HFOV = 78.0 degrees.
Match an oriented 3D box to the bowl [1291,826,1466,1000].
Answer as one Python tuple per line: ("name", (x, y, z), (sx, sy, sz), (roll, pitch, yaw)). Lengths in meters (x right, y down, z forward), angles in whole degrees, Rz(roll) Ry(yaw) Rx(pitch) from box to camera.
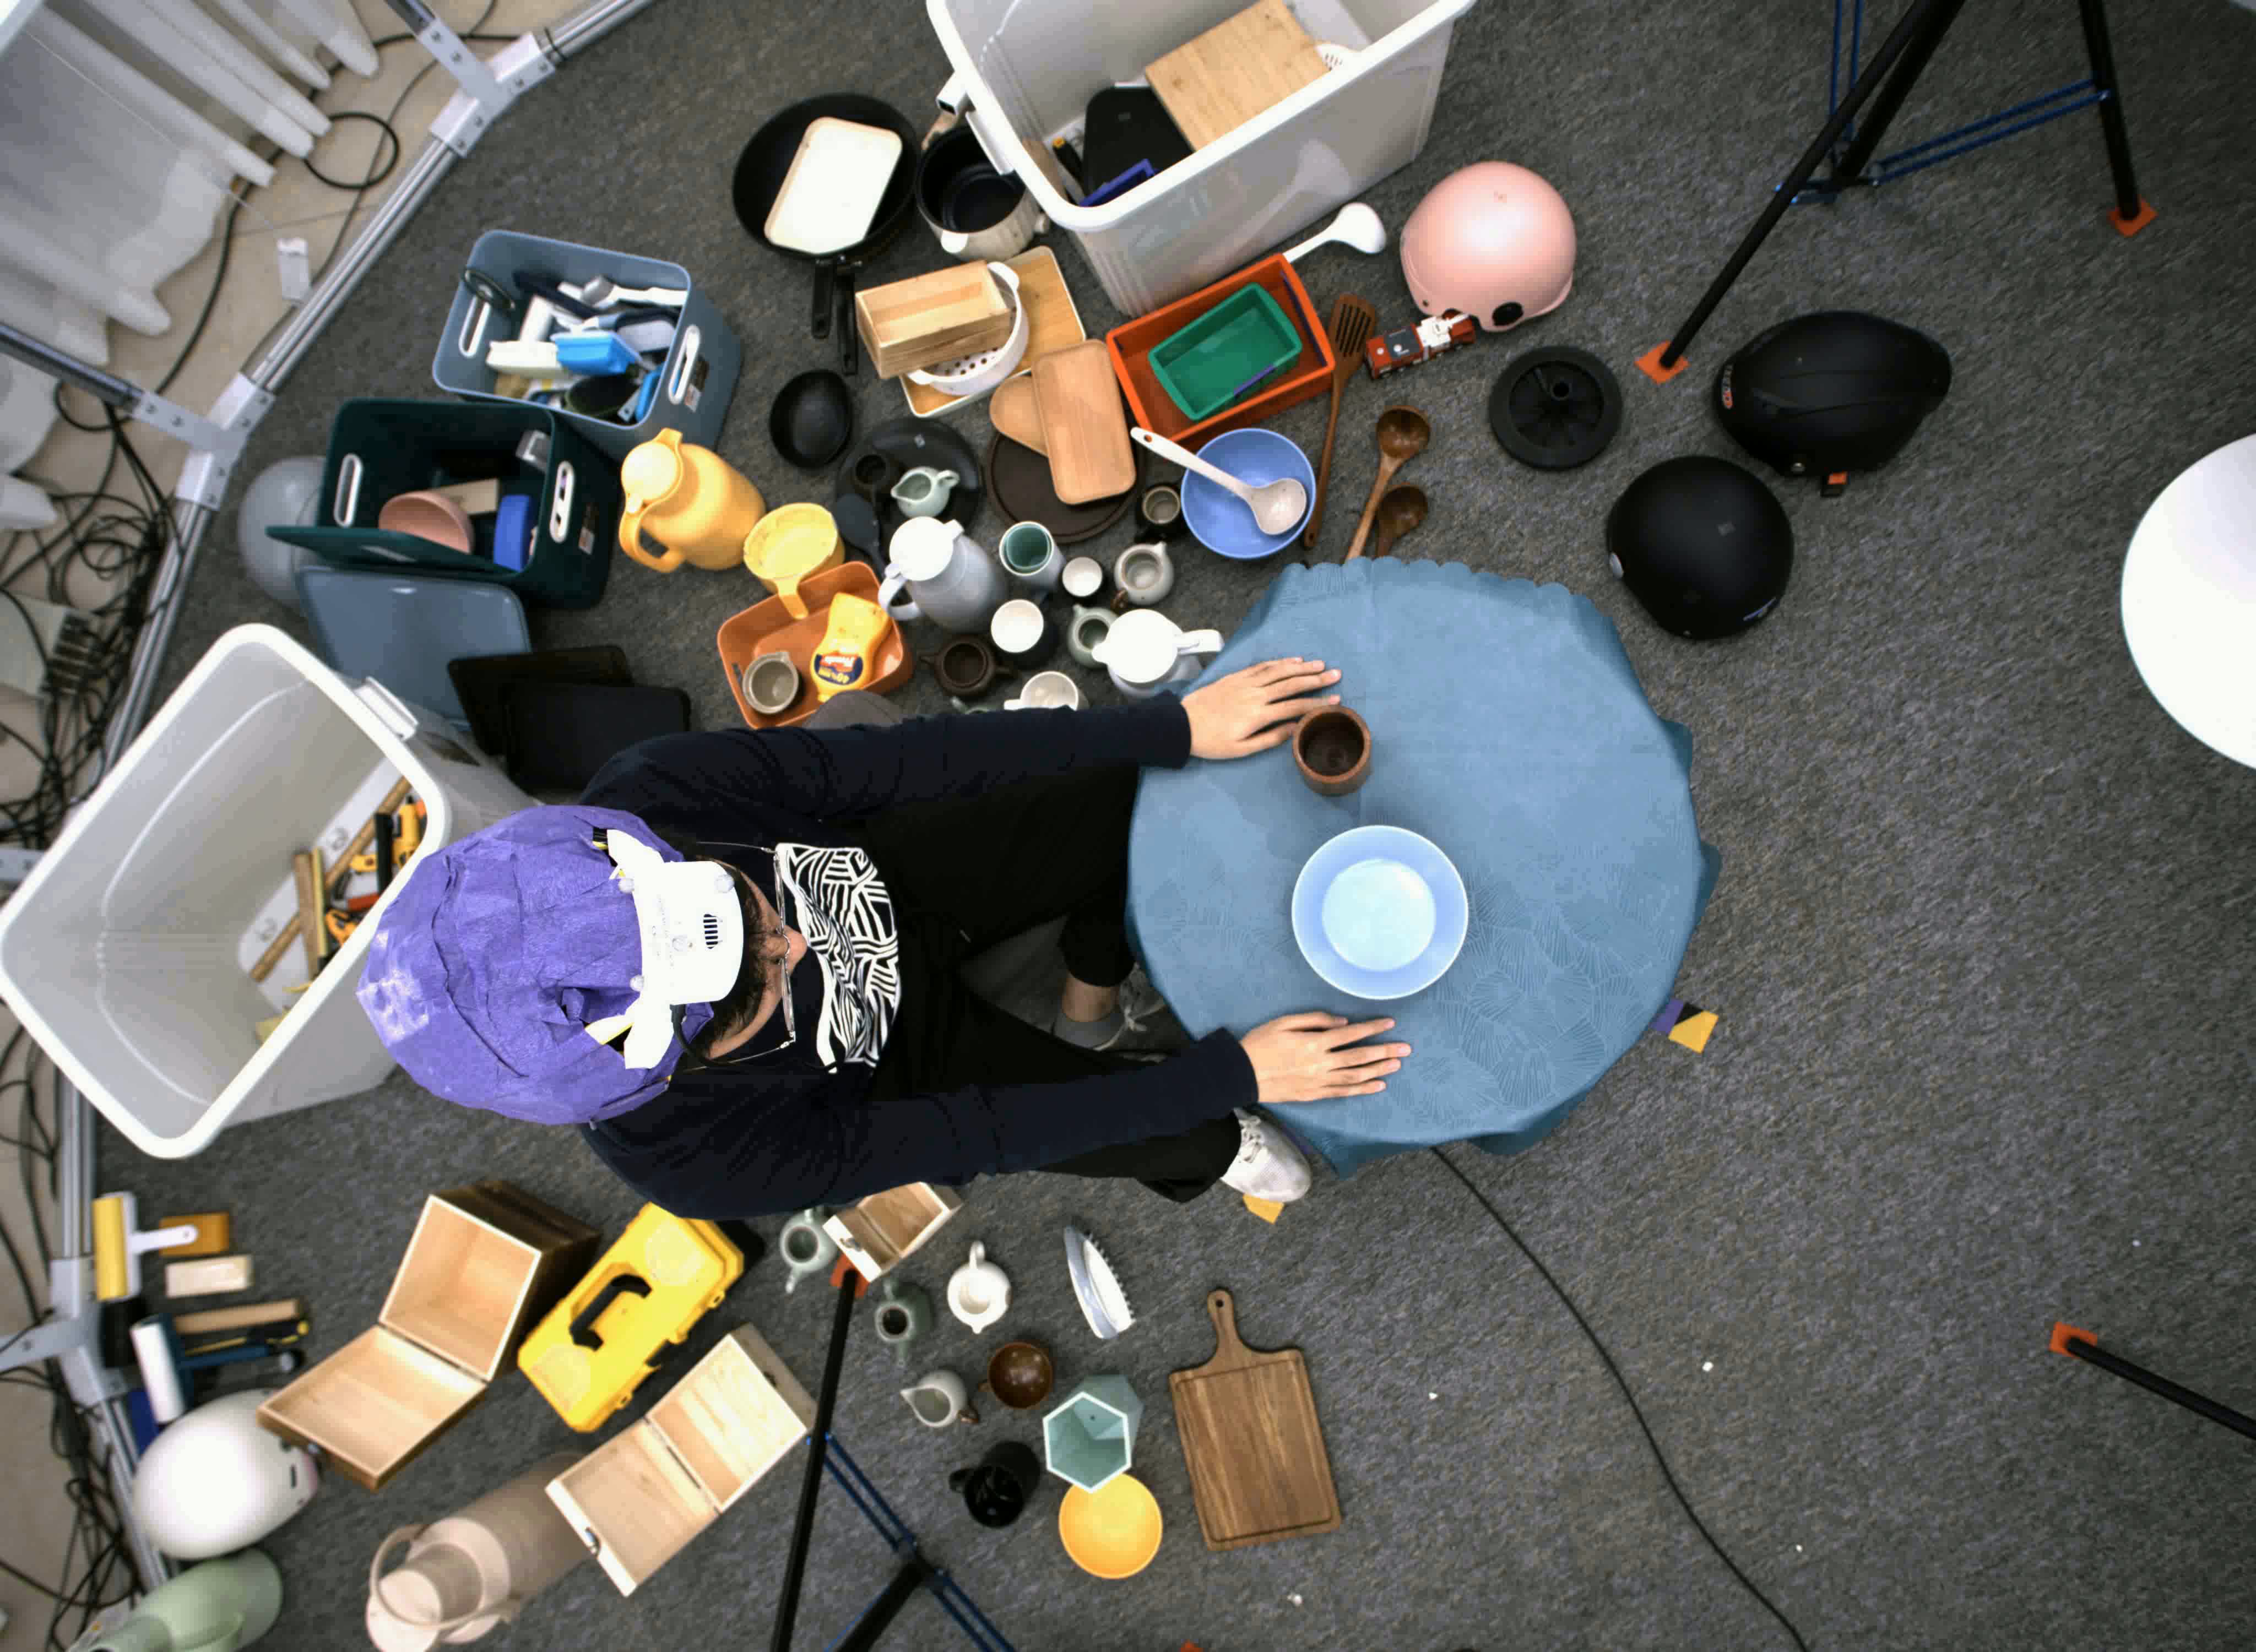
("bowl", (0.258, 0.090, 1.424), (0.177, 0.070, 0.175), (-1, 86, 11))

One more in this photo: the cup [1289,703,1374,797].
("cup", (0.212, -0.076, 1.418), (0.088, 0.118, 0.087), (-1, 84, 12))
